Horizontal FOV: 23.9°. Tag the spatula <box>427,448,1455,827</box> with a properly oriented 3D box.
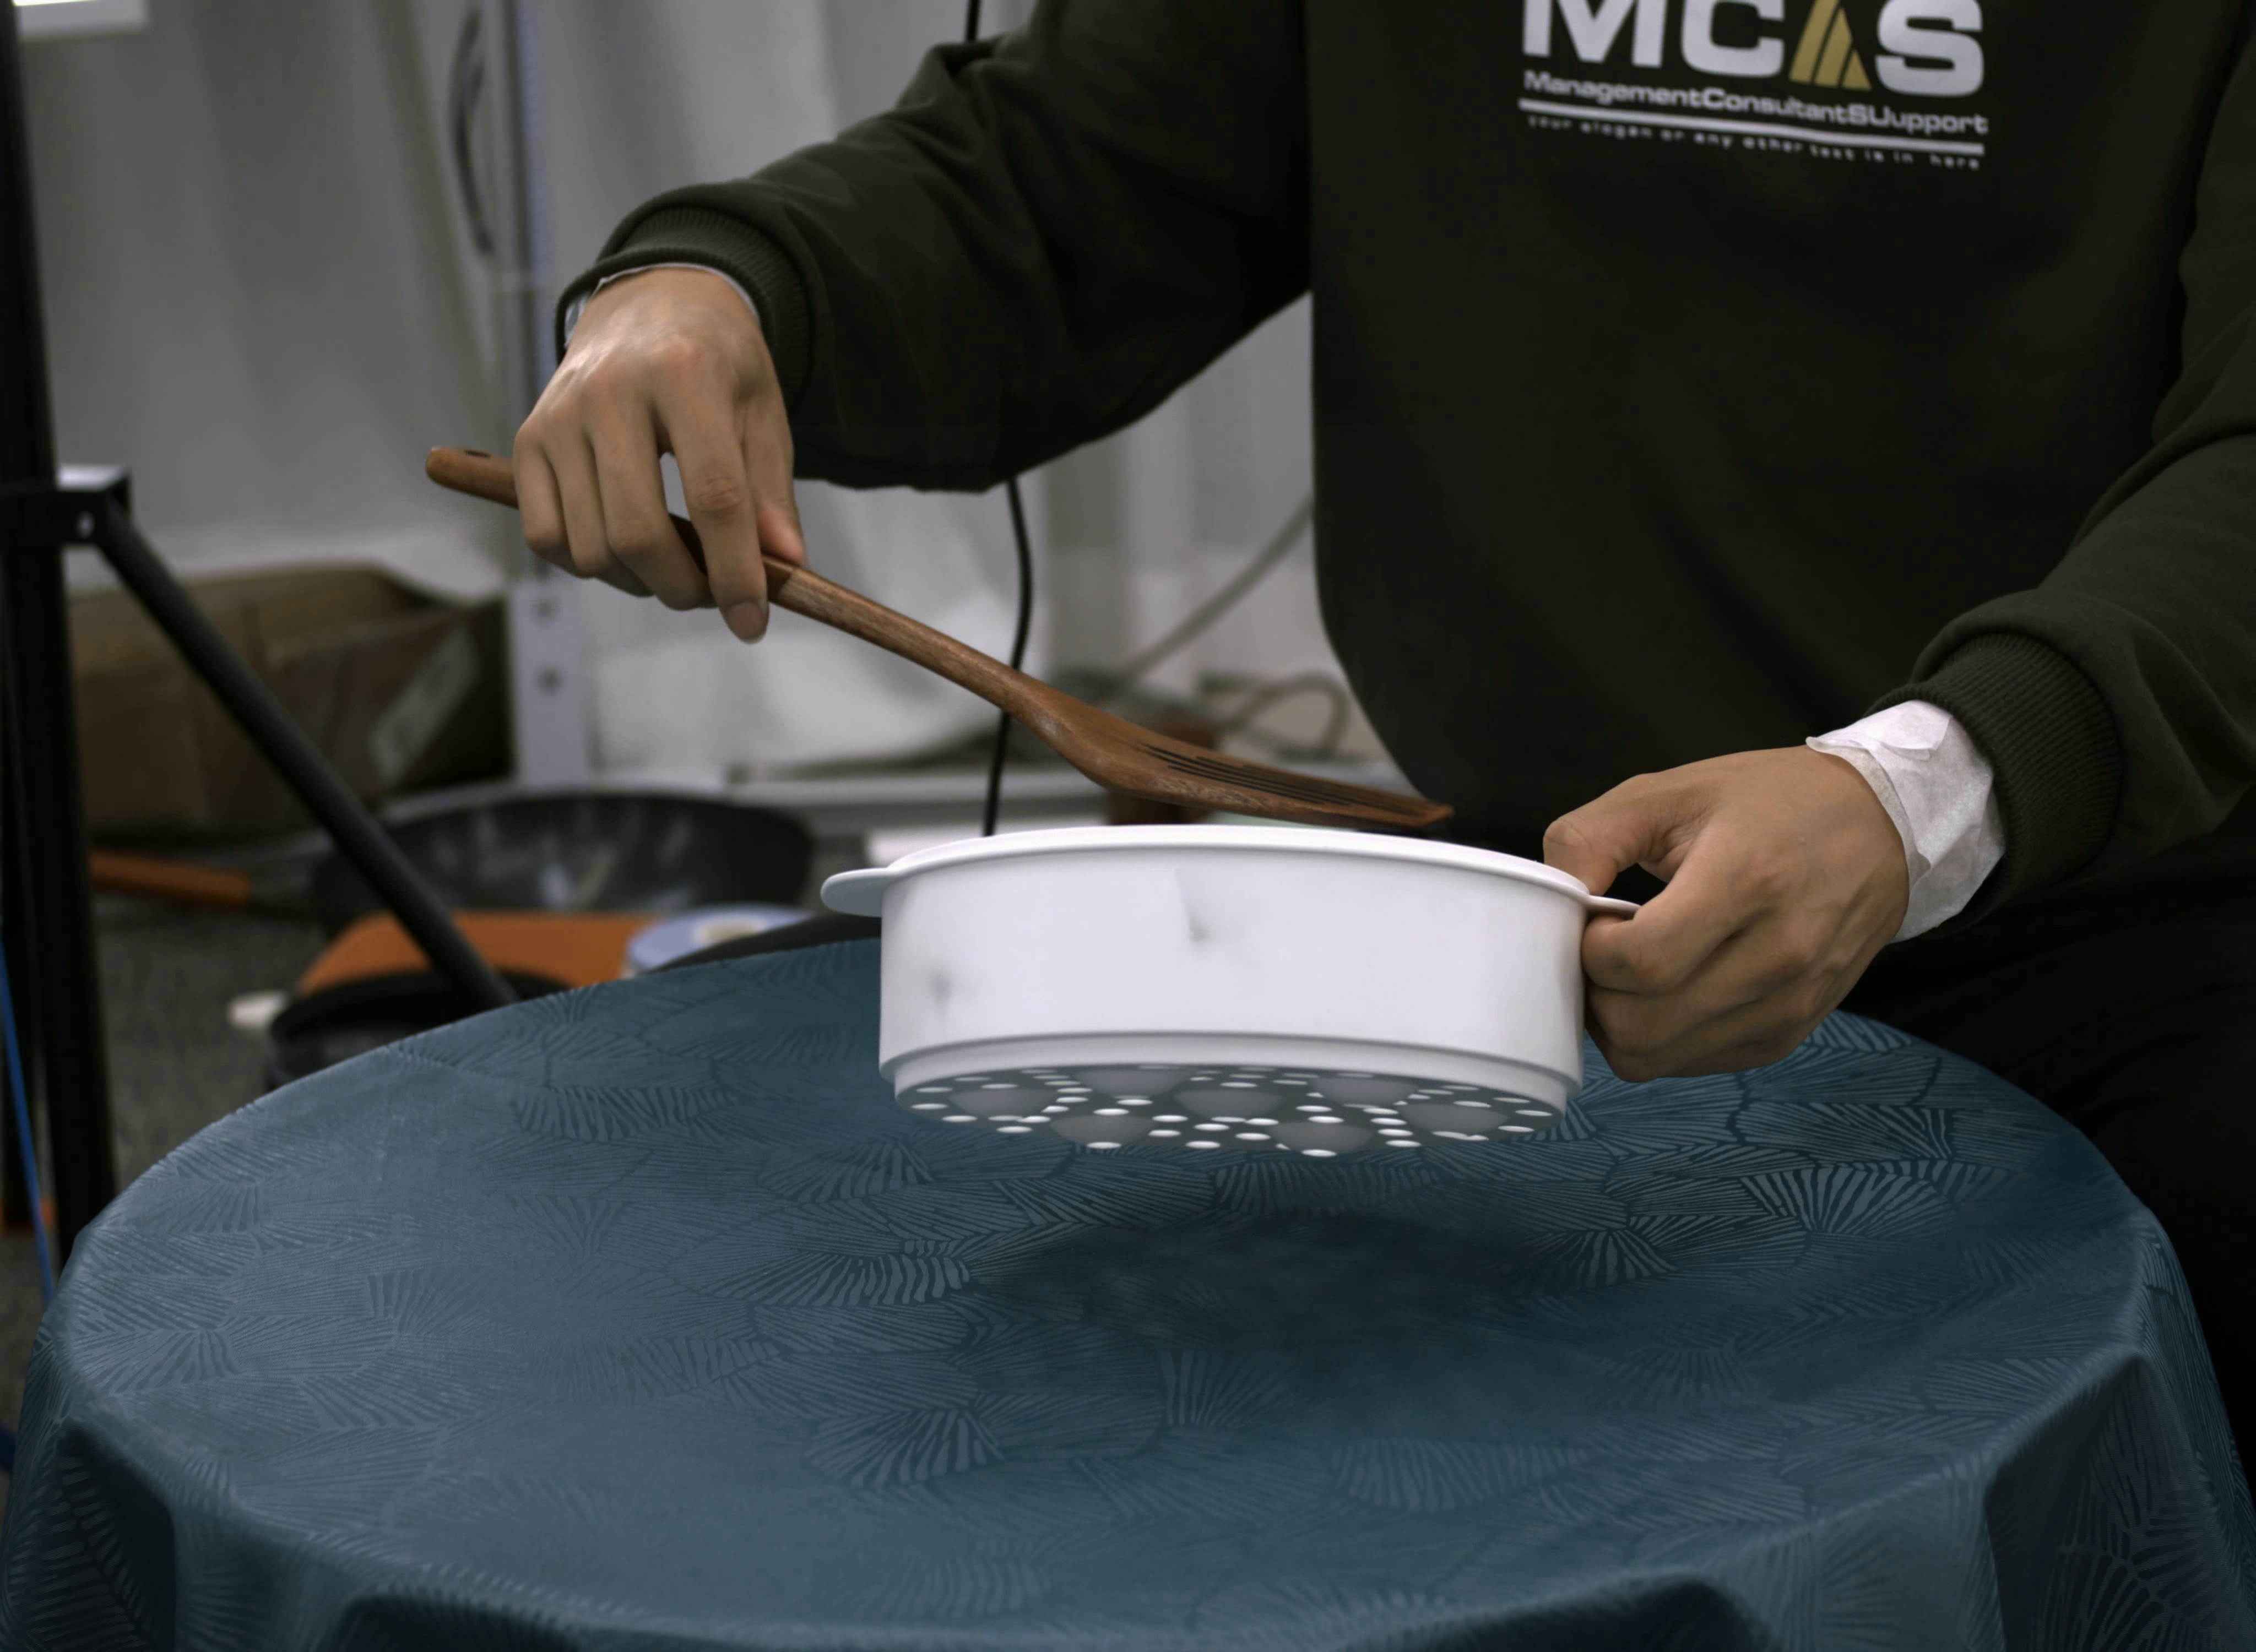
[{"bbox_3d":[-0.073,-0.057,1.645,0.393,0.024,0.084,22,15,32],"label":"spatula"}]

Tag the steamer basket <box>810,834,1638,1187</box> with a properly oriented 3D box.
[{"bbox_3d":[0.023,0.055,1.461,0.229,0.069,0.202,8,-10,-1],"label":"steamer basket"}]
